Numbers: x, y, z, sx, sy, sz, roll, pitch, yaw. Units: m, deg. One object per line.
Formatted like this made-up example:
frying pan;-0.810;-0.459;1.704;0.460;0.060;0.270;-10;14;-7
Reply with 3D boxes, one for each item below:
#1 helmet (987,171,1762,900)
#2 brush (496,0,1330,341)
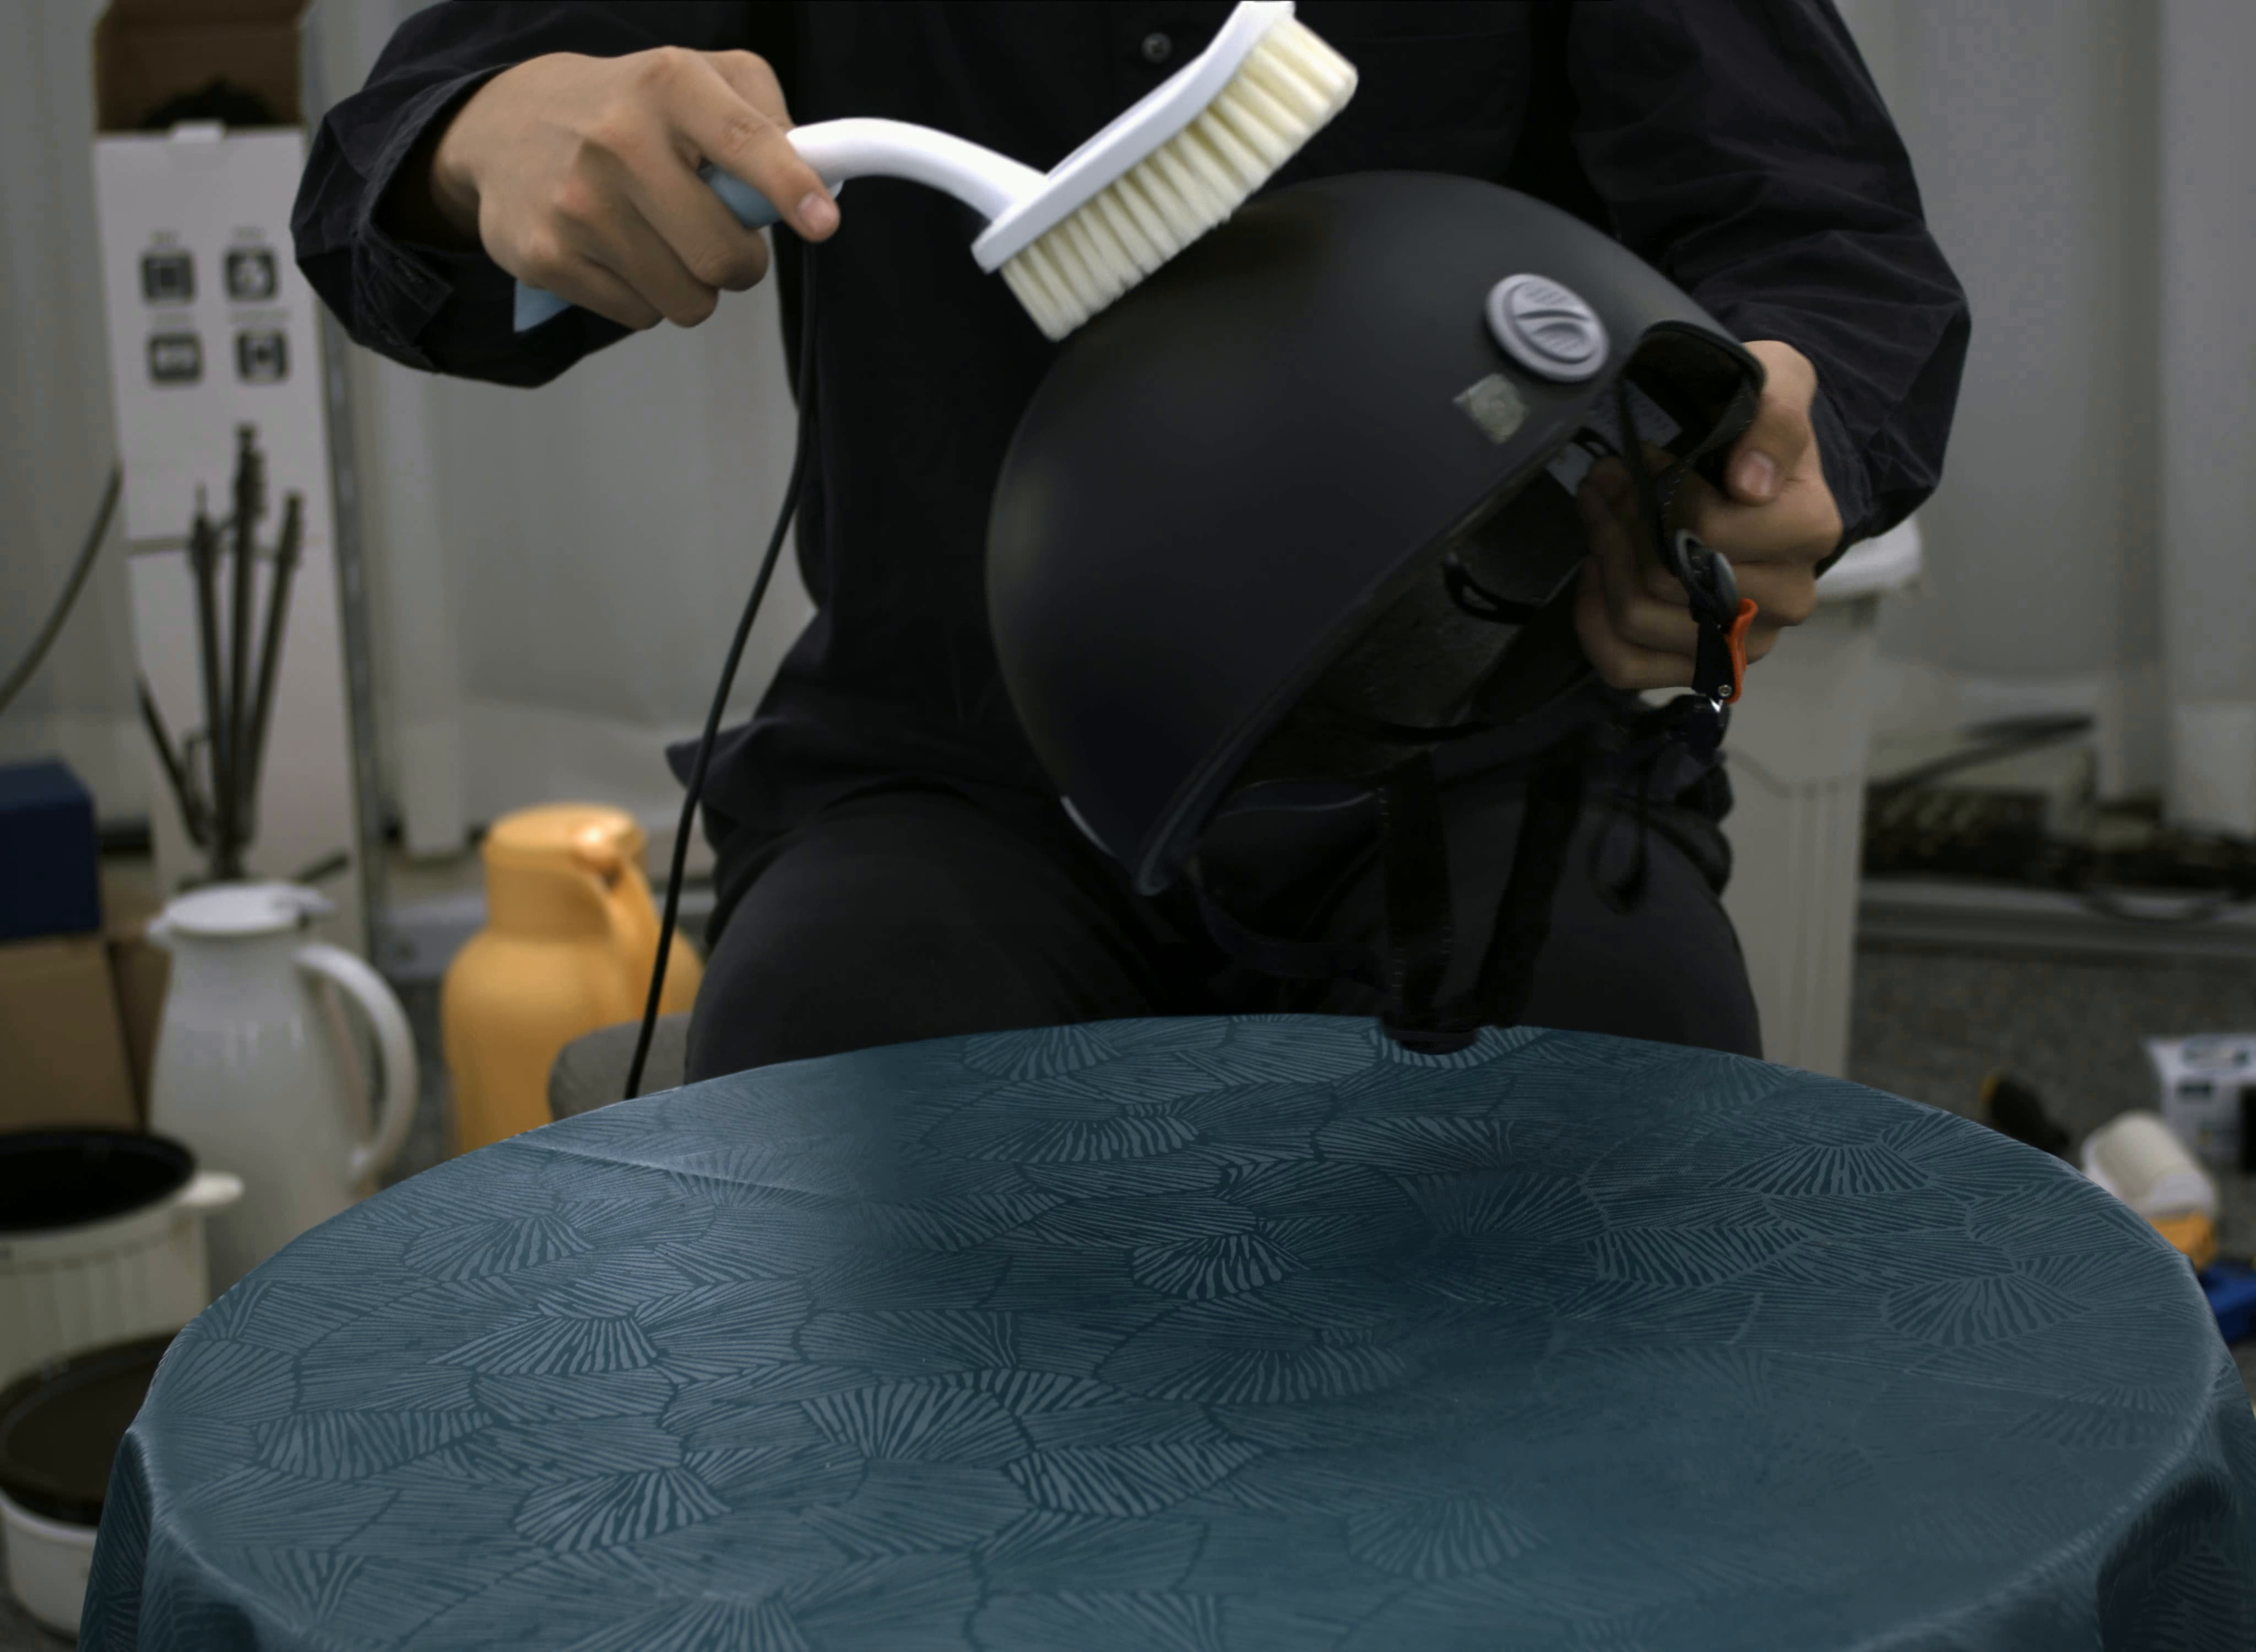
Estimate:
helmet;0.056;-0.103;1.649;0.168;0.228;0.273;48;32;15
brush;-0.063;-0.173;1.665;0.325;0.085;0.082;-15;-16;40
